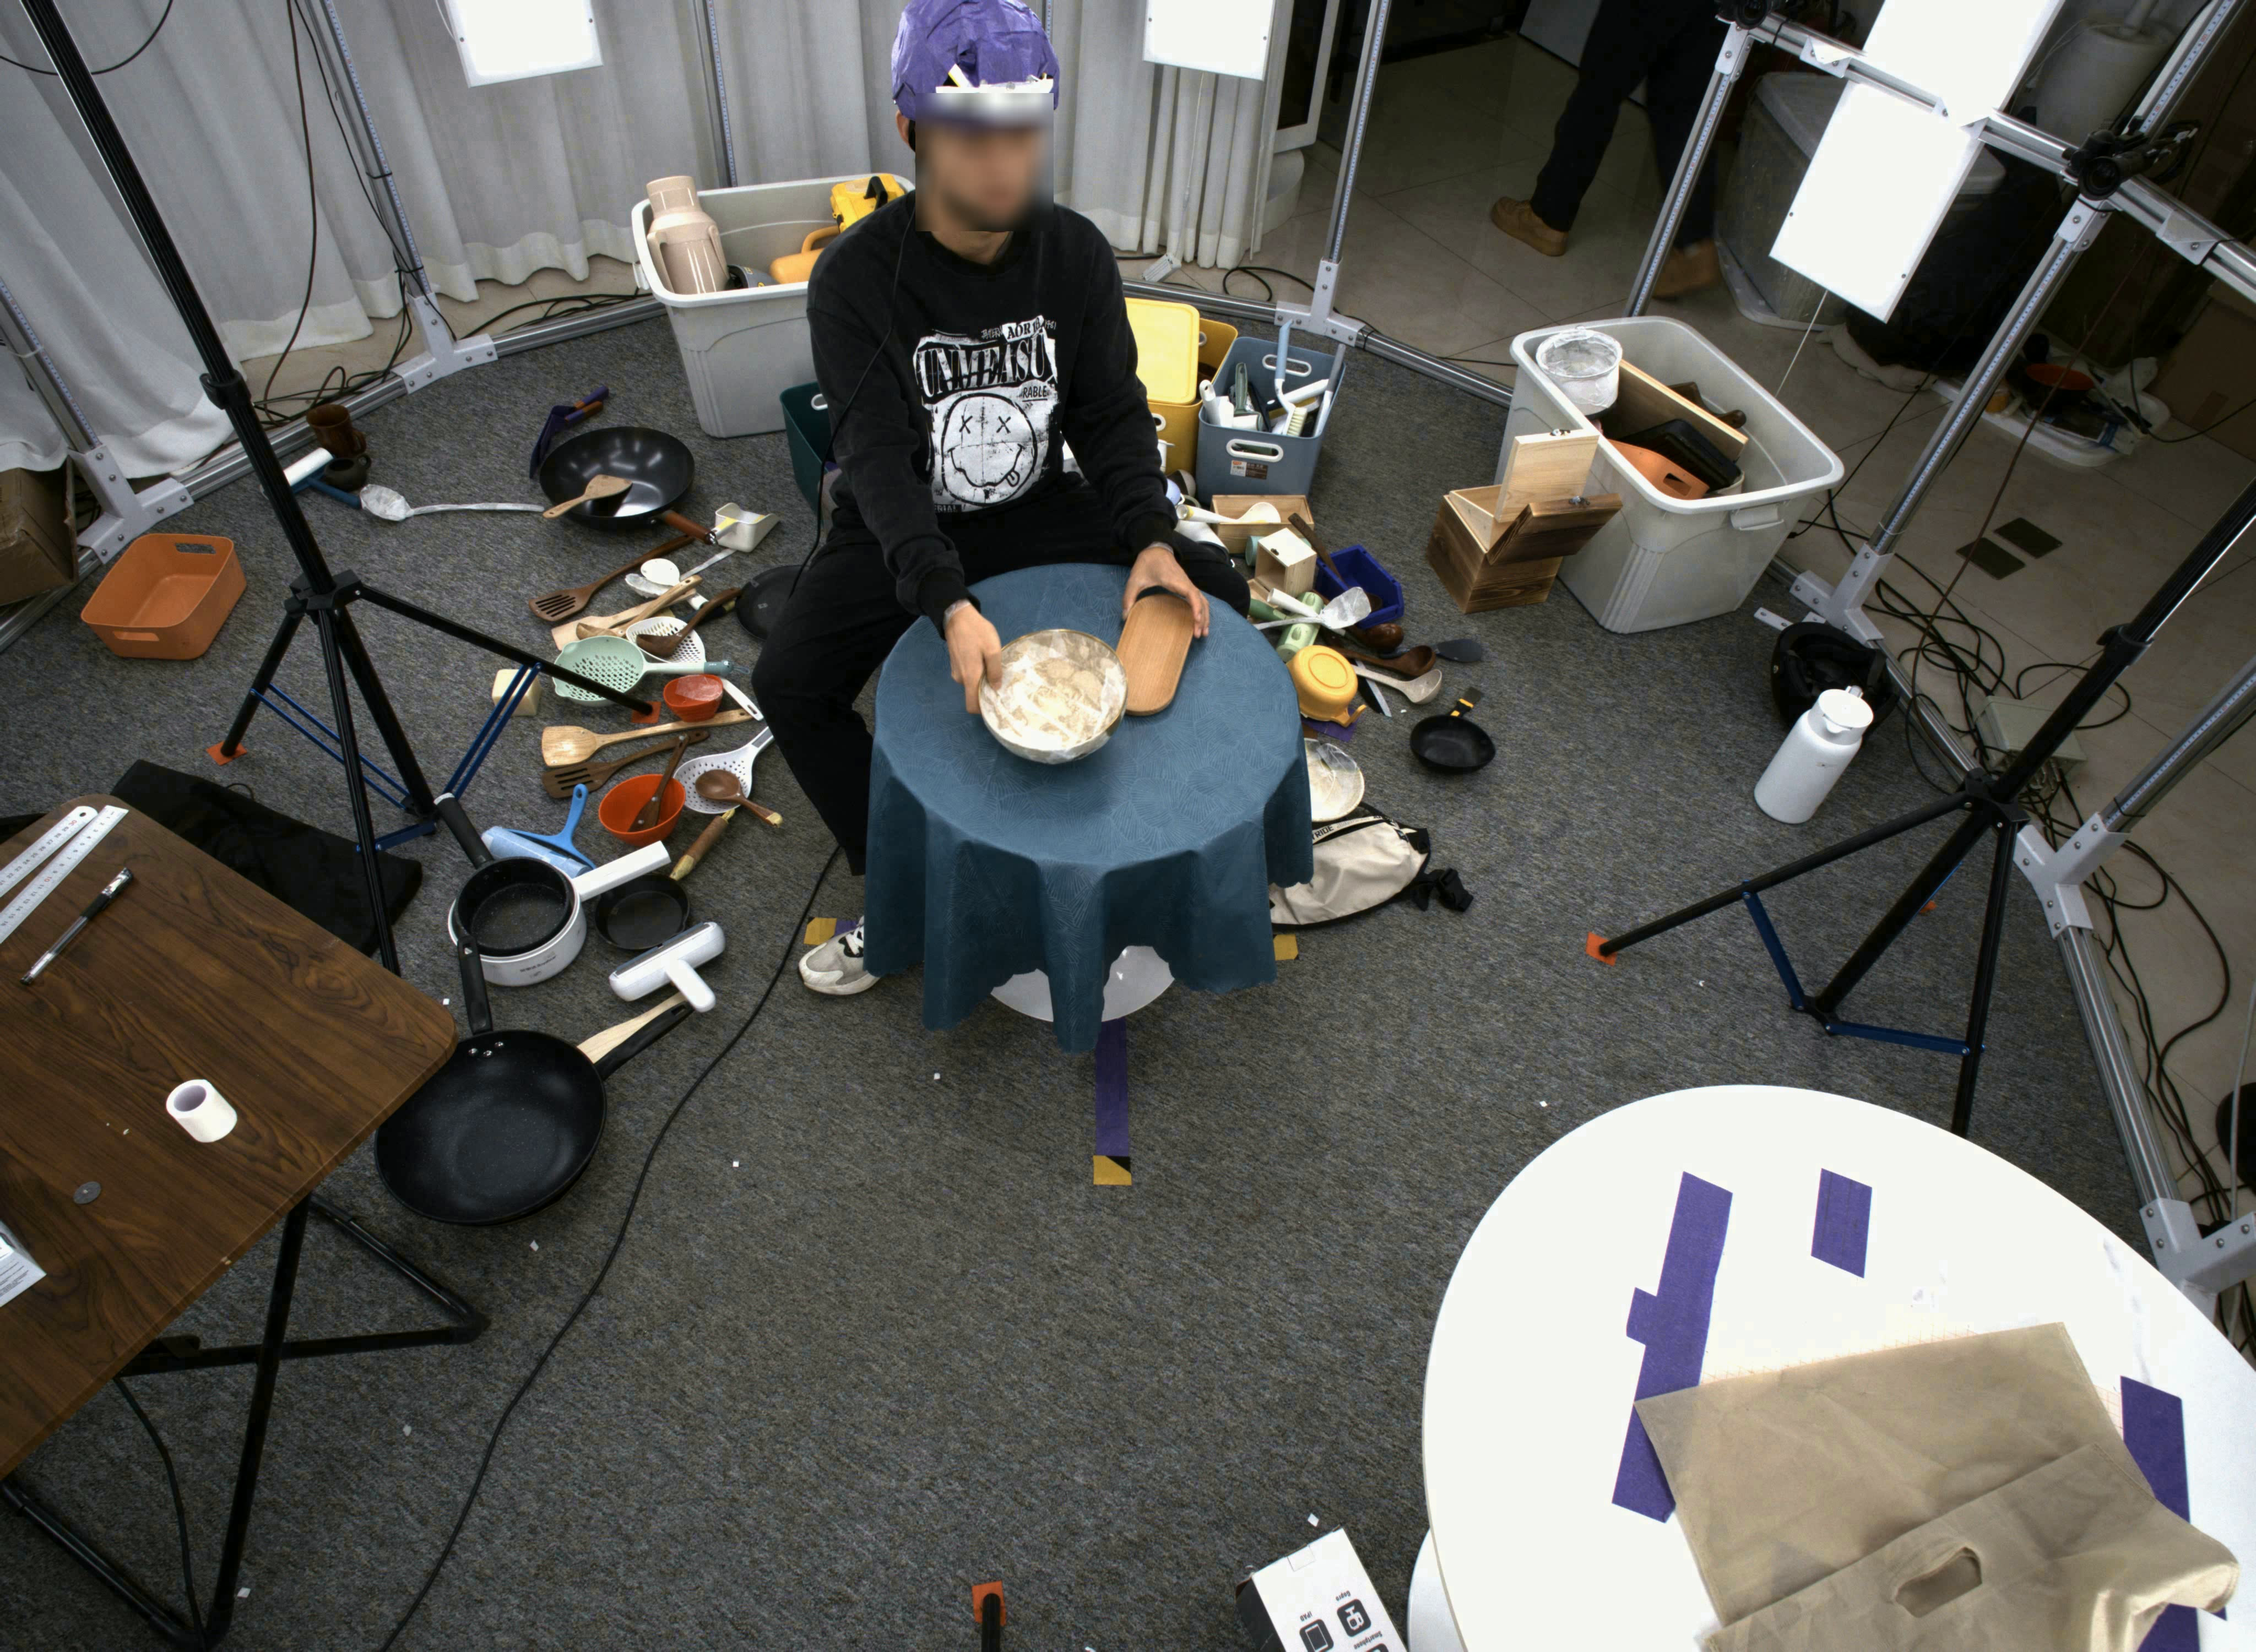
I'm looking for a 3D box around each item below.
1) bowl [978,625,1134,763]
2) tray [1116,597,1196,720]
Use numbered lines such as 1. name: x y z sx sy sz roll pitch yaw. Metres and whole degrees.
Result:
1. bowl: -0.092 -0.165 1.746 0.214 0.092 0.220 -2 57 3
2. tray: 0.035 -0.247 1.878 0.102 0.020 0.236 9 56 10
